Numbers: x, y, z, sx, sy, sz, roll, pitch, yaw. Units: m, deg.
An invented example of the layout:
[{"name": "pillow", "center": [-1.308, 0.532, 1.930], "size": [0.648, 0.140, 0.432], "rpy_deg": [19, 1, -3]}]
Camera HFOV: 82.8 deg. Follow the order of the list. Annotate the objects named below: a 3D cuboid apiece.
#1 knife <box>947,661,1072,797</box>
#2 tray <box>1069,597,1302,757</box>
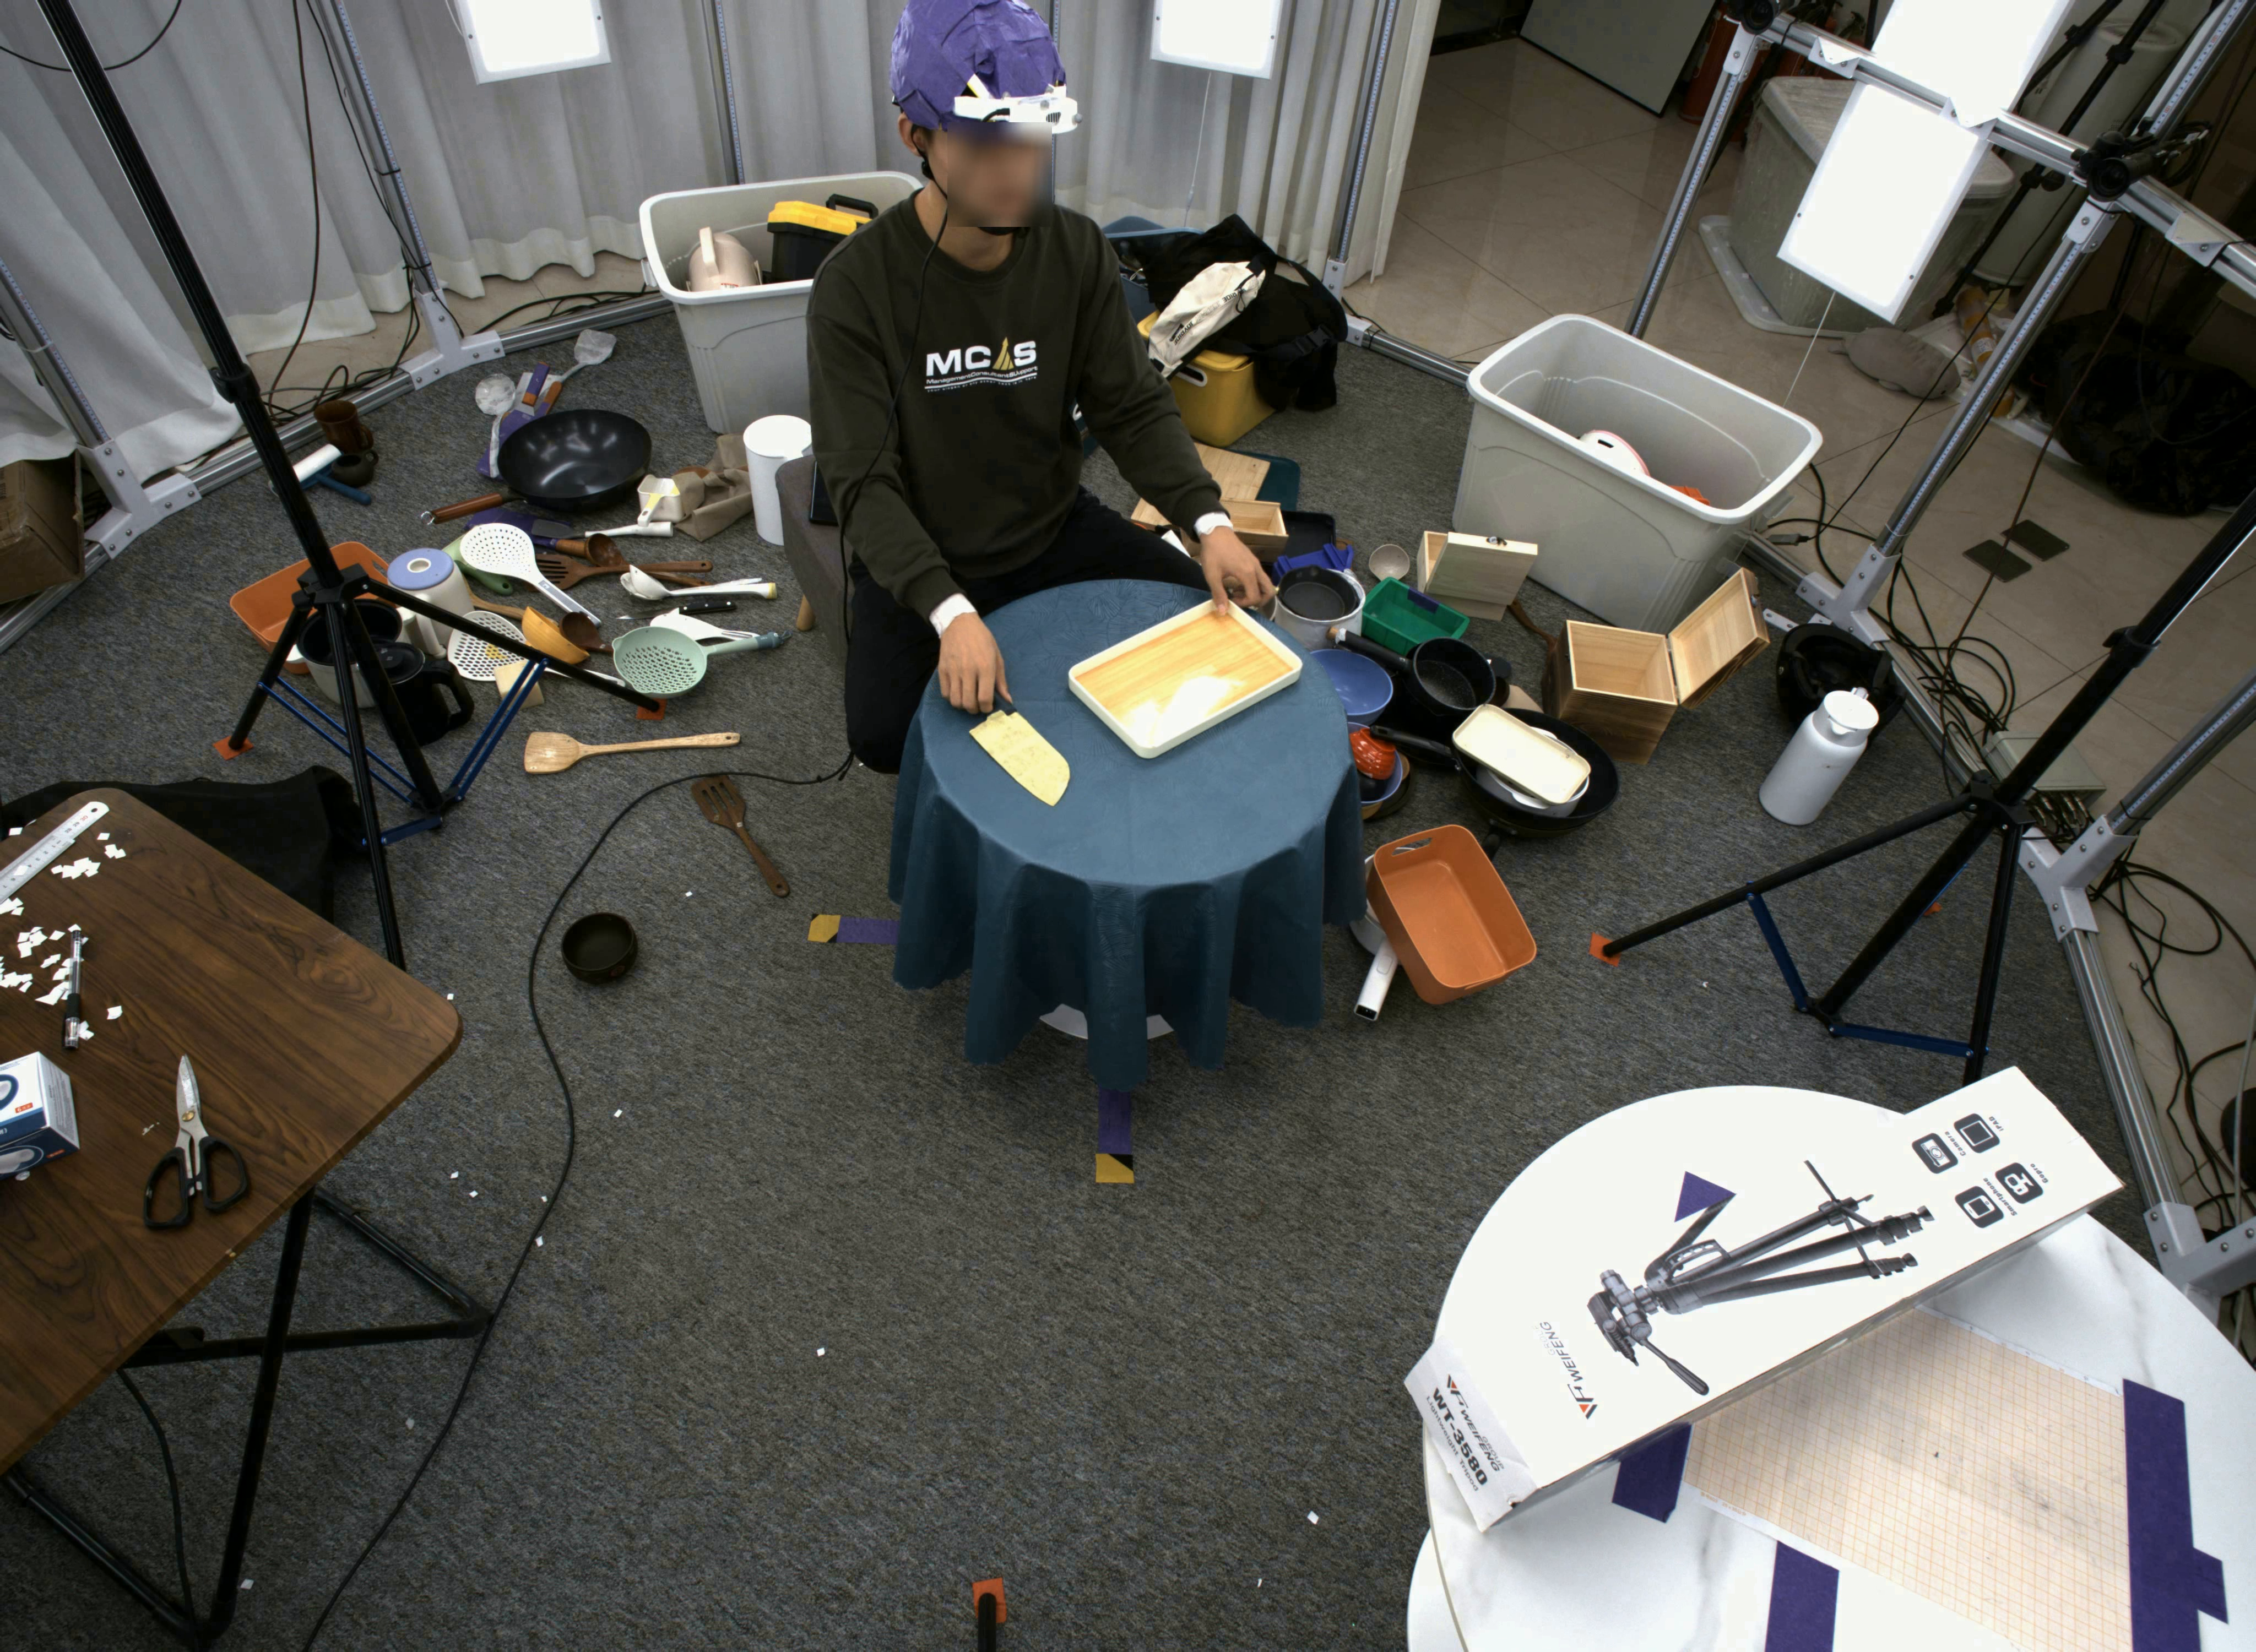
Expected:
[{"name": "knife", "center": [-0.173, -0.133, 1.762], "size": [0.081, 0.026, 0.295], "rpy_deg": [-29, 57, -23]}, {"name": "tray", "center": [0.083, -0.220, 1.847], "size": [0.302, 0.027, 0.195], "rpy_deg": [-29, 56, -26]}]
